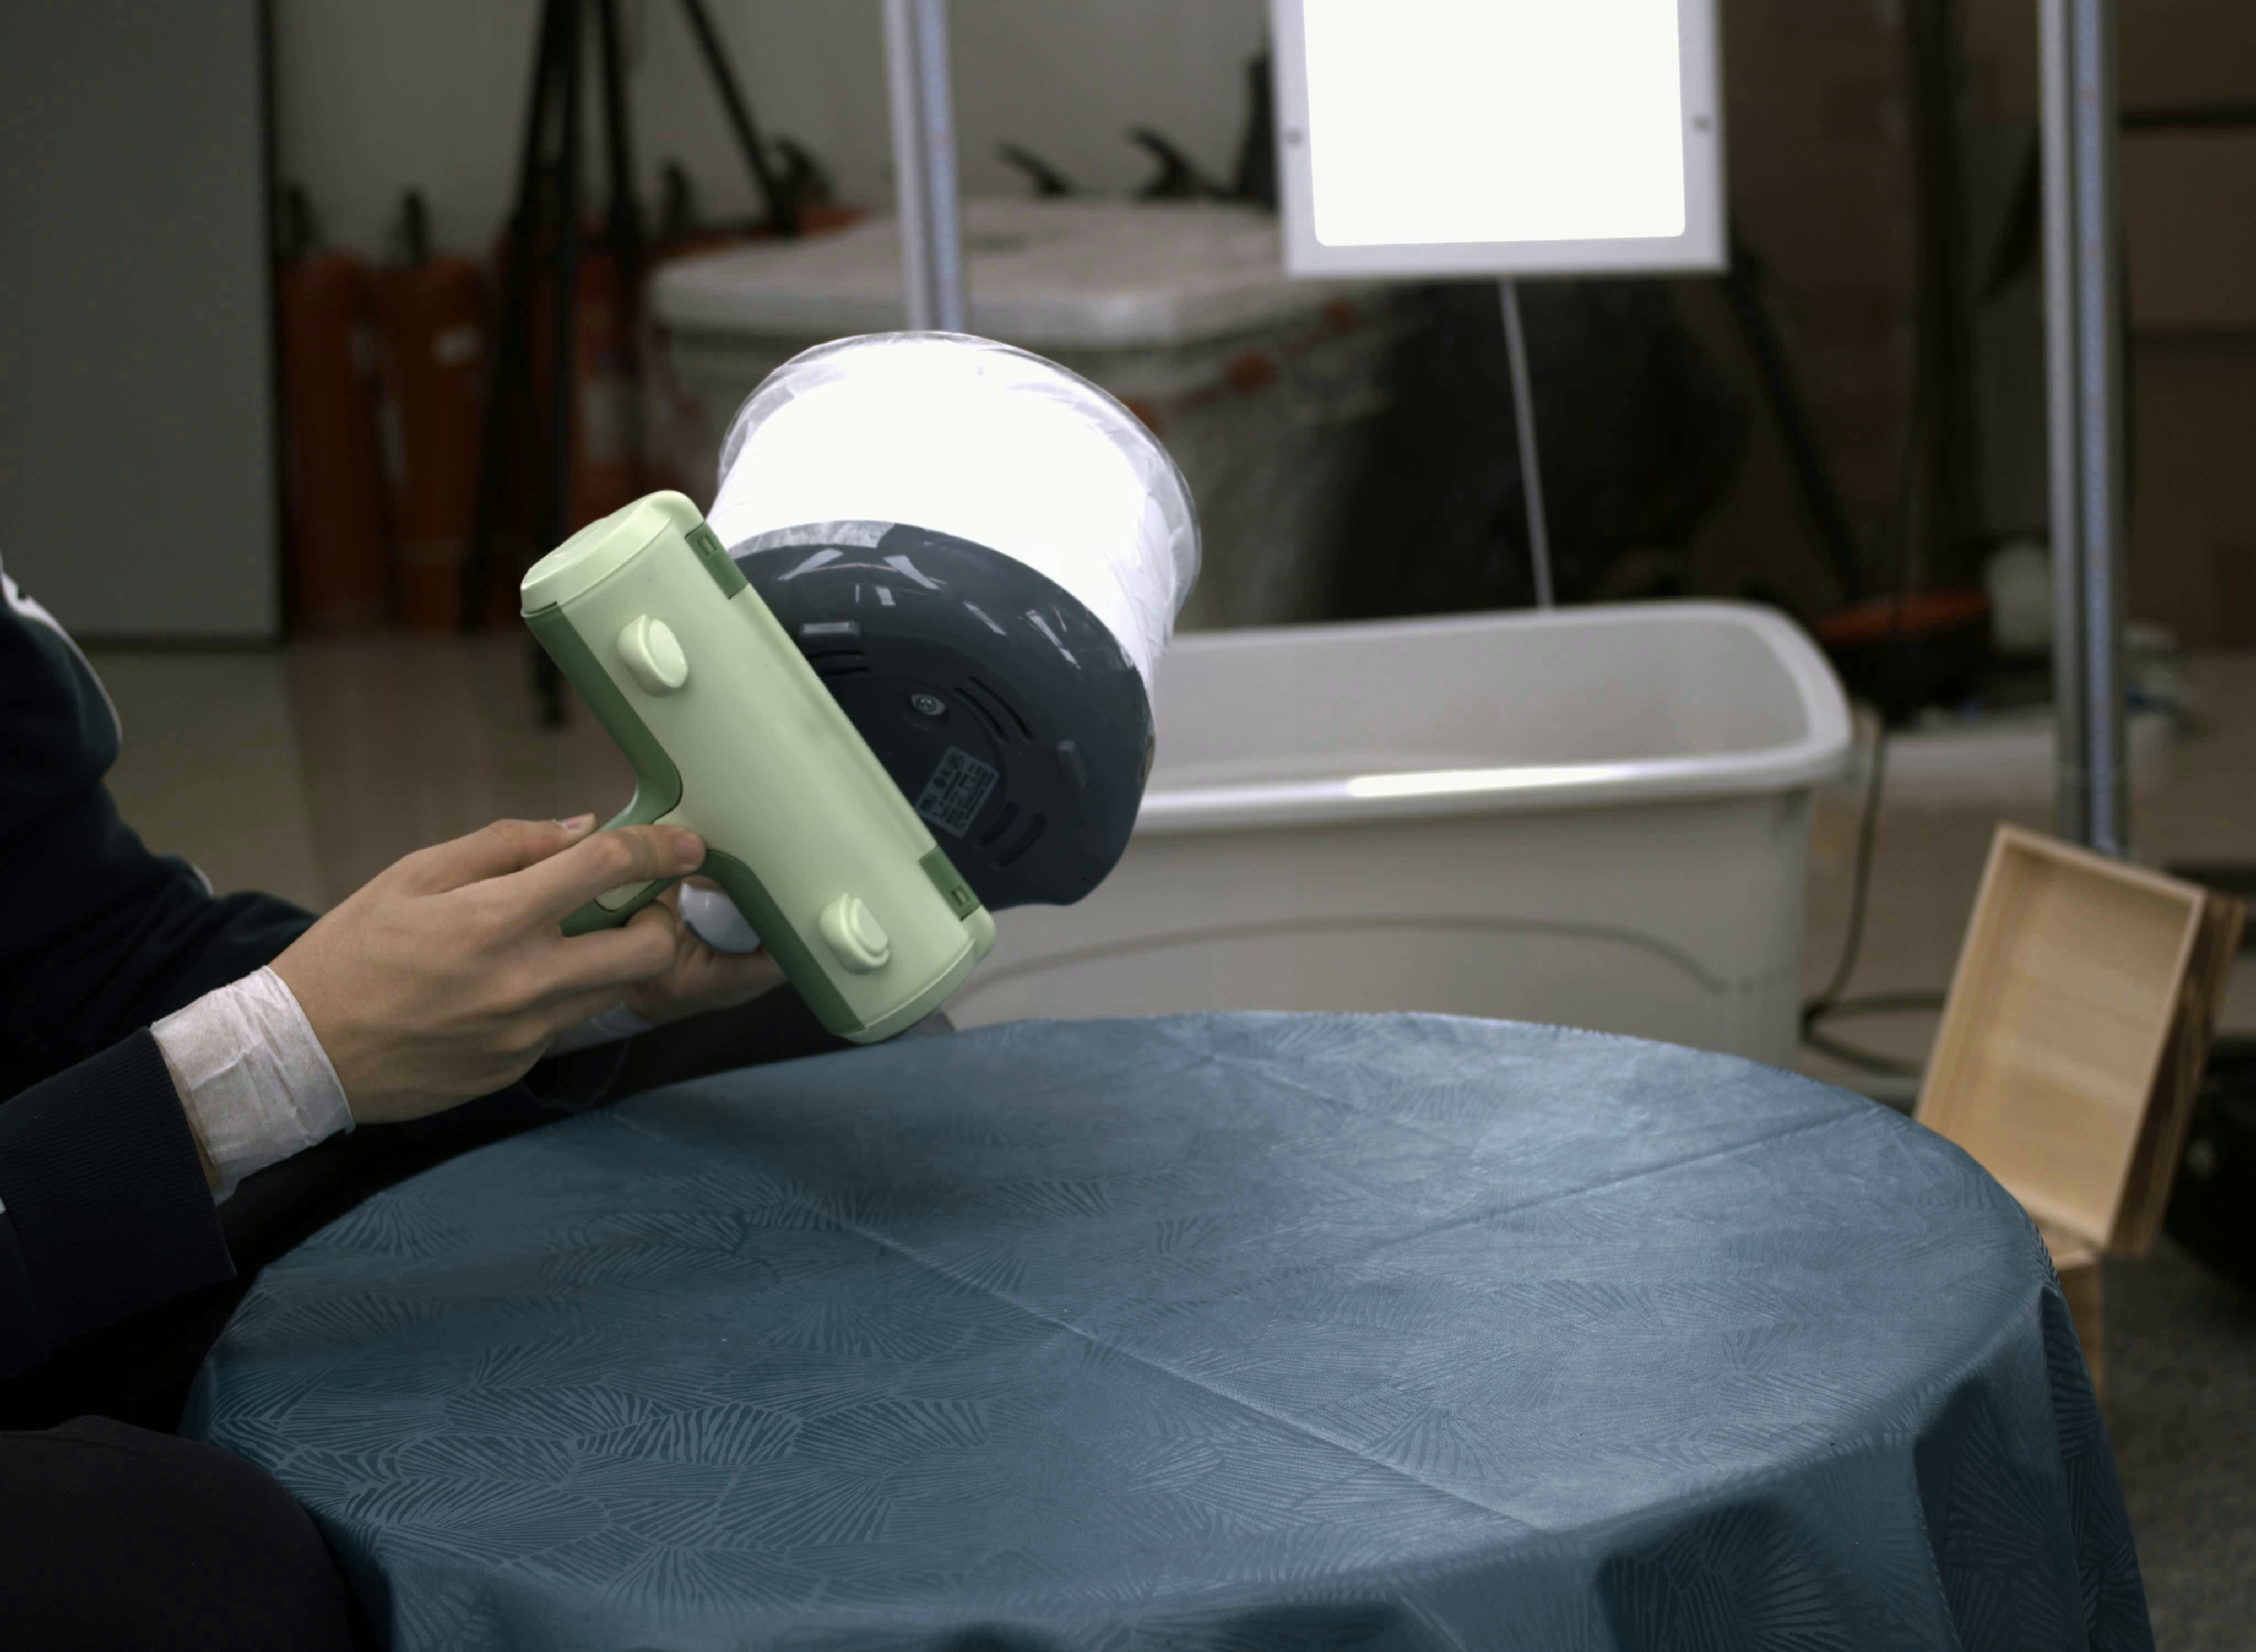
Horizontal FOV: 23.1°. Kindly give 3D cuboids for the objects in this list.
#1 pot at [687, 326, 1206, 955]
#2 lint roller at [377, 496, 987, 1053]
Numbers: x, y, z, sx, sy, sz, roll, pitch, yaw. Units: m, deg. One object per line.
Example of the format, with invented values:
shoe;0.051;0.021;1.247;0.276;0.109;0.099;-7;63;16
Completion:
pot;-0.085;-0.052;1.946;0.177;0.238;0.135;30;47;-14
lint roller;-0.168;0.019;1.826;0.182;0.198;0.083;-37;15;-10
